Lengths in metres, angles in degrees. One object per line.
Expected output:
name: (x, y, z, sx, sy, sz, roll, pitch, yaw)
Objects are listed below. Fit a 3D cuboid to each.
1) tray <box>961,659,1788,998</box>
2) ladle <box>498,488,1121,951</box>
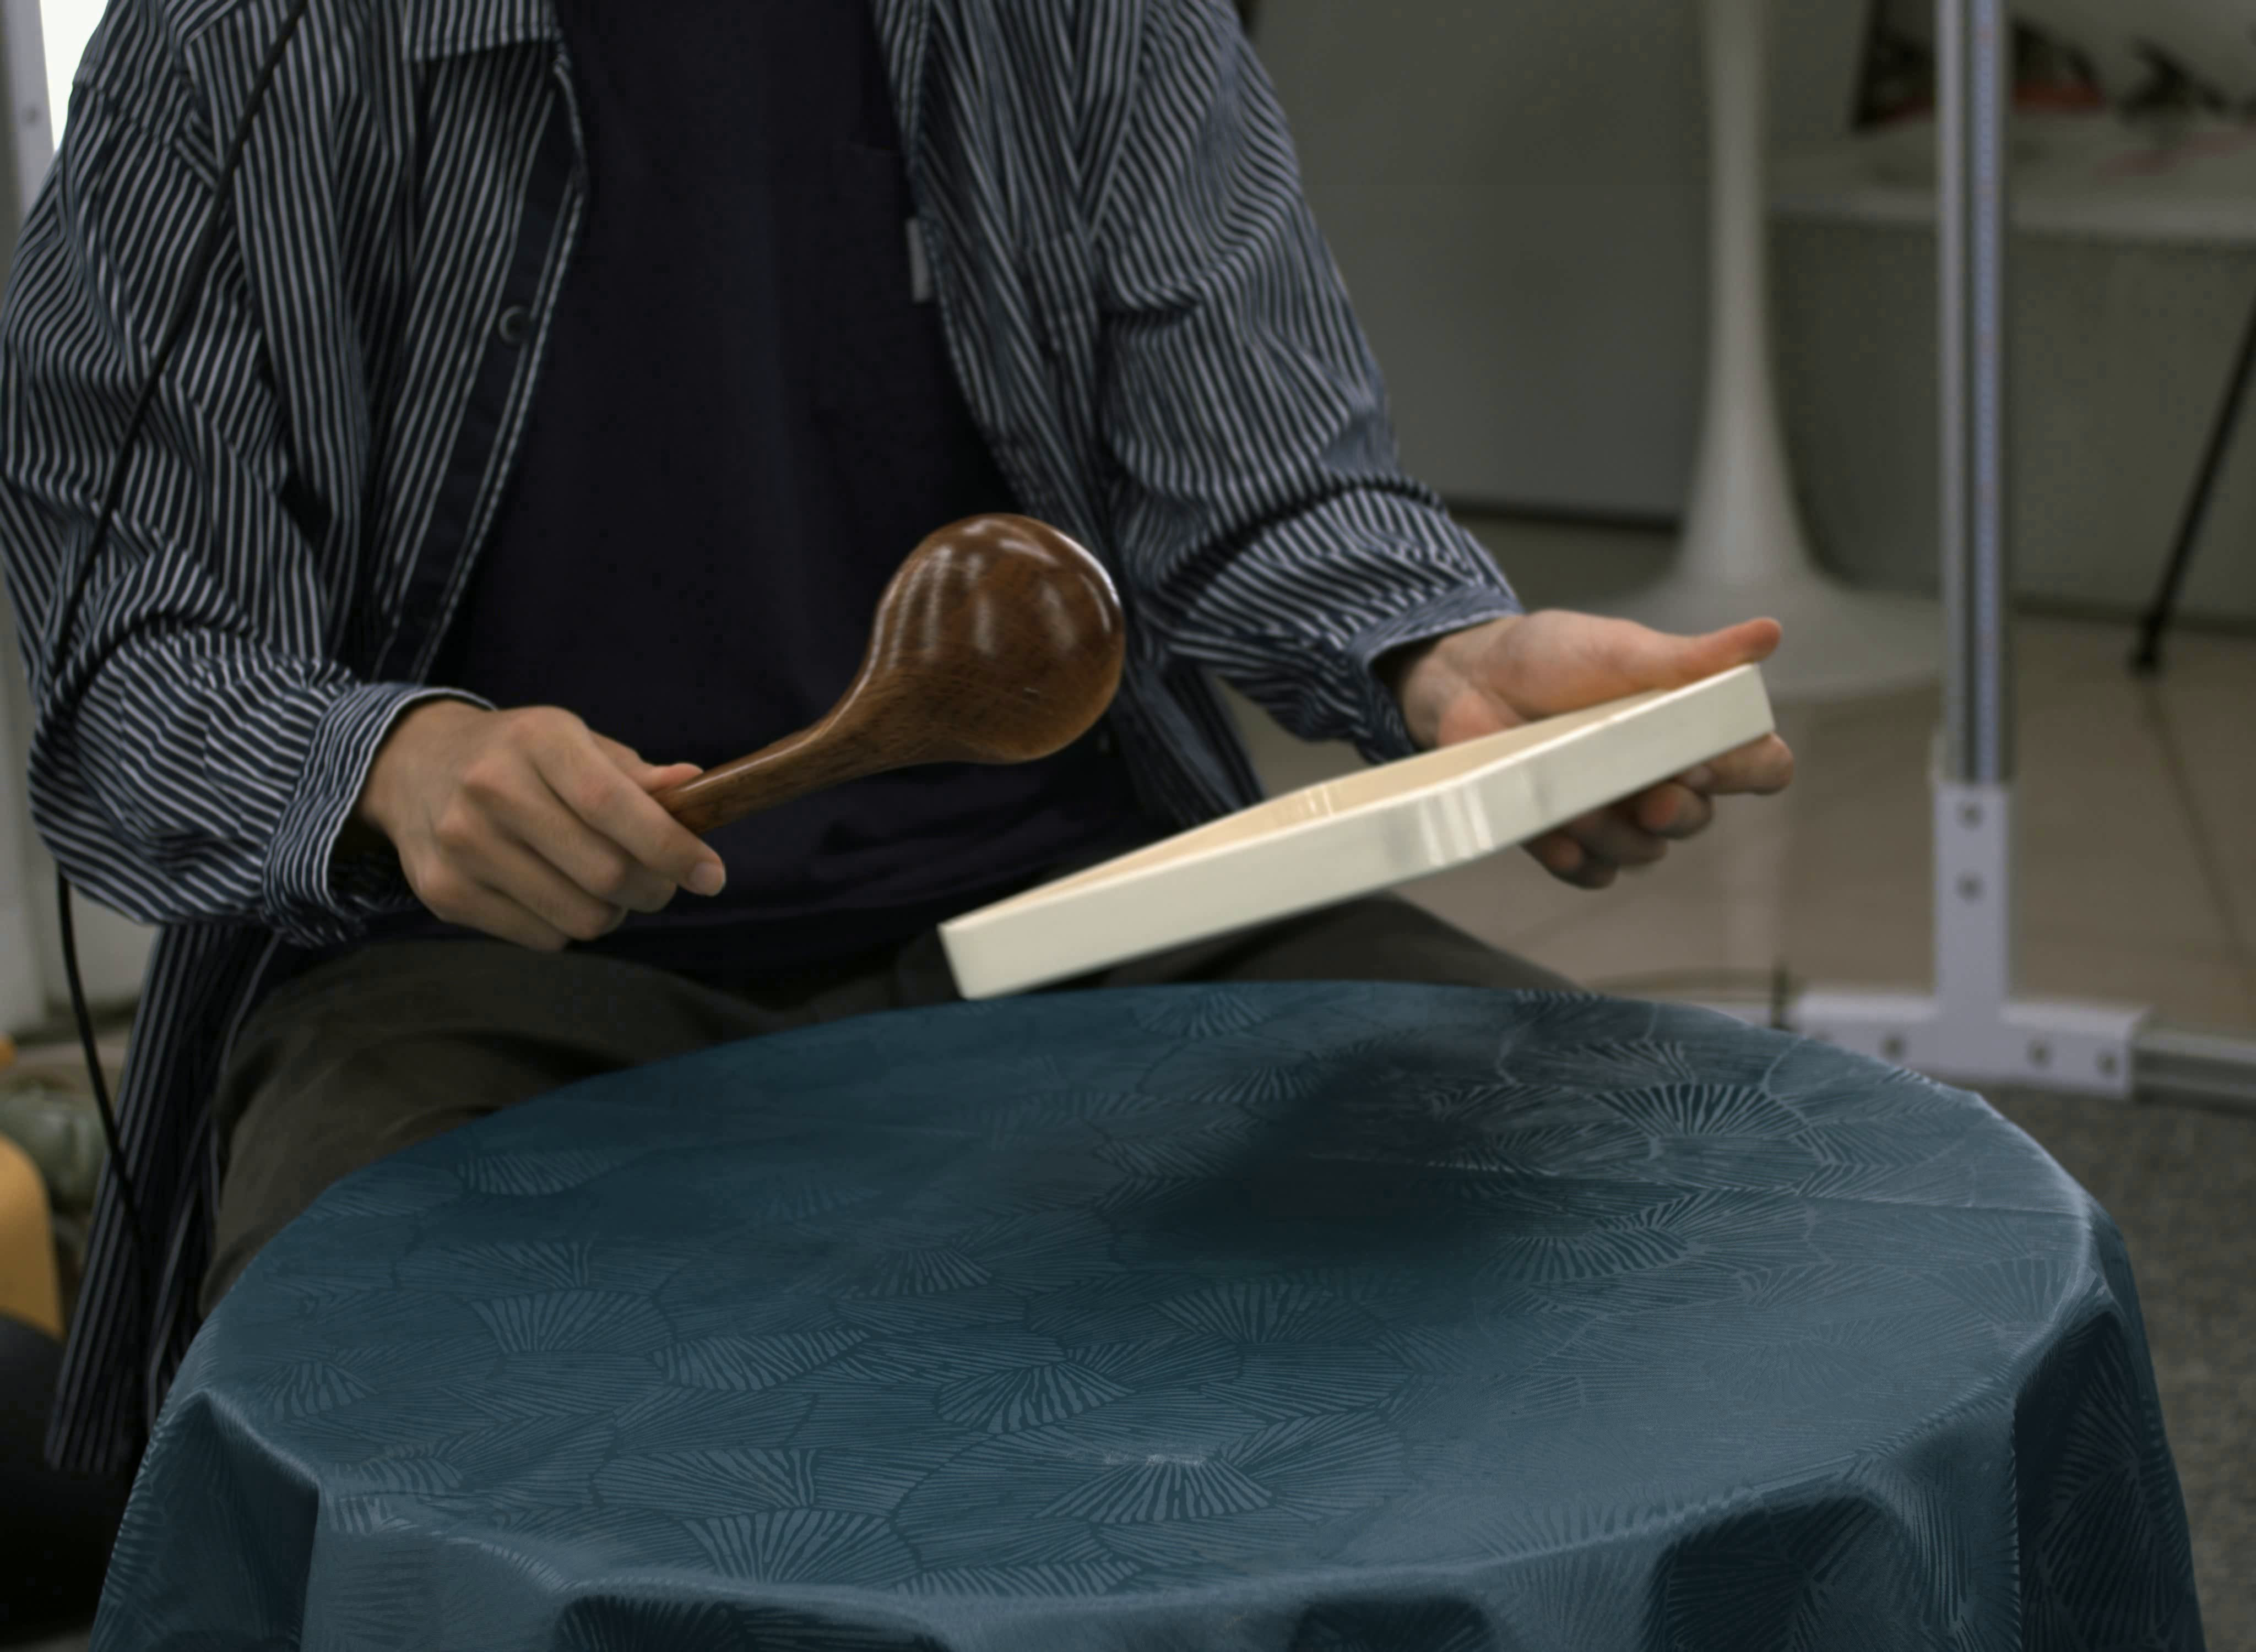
tray: (0.088, -0.001, 1.774, 0.192, 0.028, 0.296, -17, 0, 28)
ladle: (-0.109, -0.030, 1.772, 0.276, 0.082, 0.076, -27, 12, 46)
